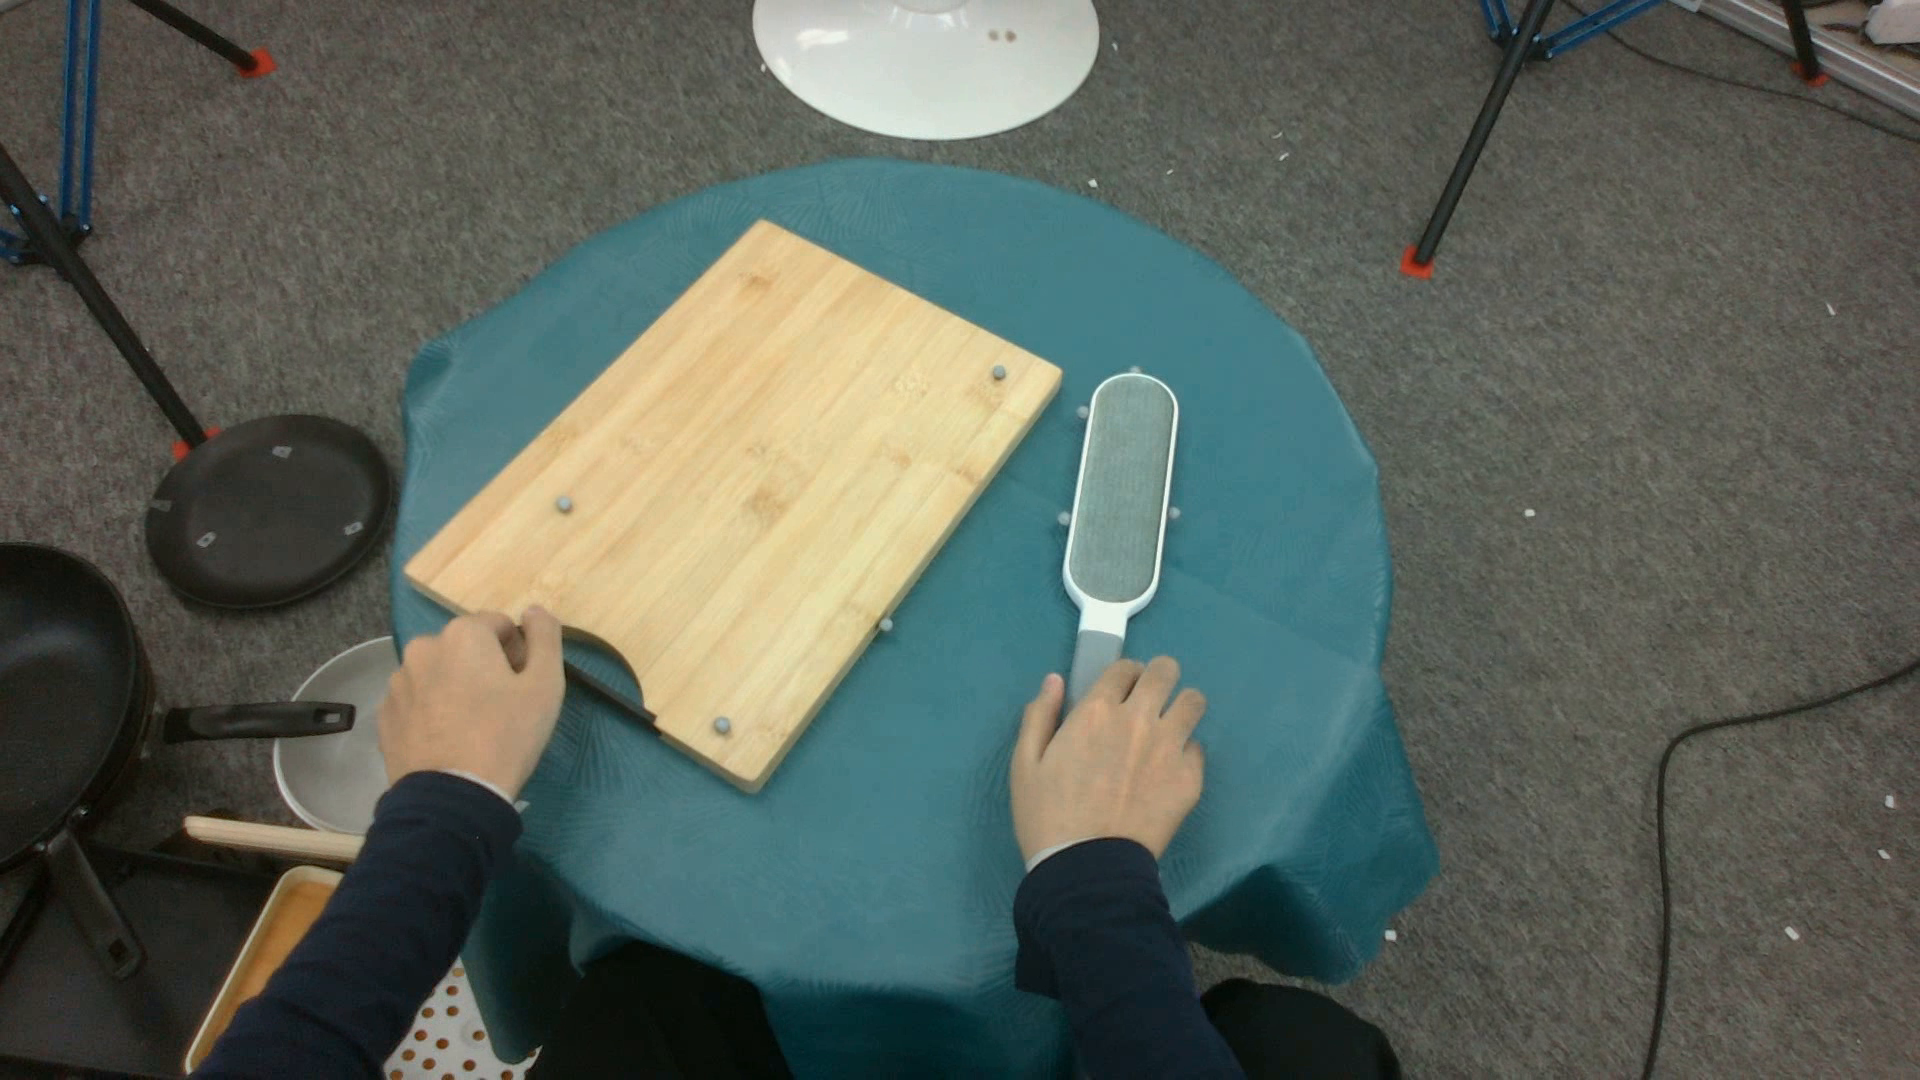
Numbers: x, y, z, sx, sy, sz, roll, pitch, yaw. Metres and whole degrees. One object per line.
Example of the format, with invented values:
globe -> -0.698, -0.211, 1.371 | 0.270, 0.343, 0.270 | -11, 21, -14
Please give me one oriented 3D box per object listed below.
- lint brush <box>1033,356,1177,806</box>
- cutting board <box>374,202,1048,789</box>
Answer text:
lint brush -> 0.081, 0.011, 0.805 | 0.060, 0.021, 0.310 | 17, 57, -3
cutting board -> -0.134, -0.048, 0.831 | 0.250, 0.023, 0.350 | 28, 59, 13
